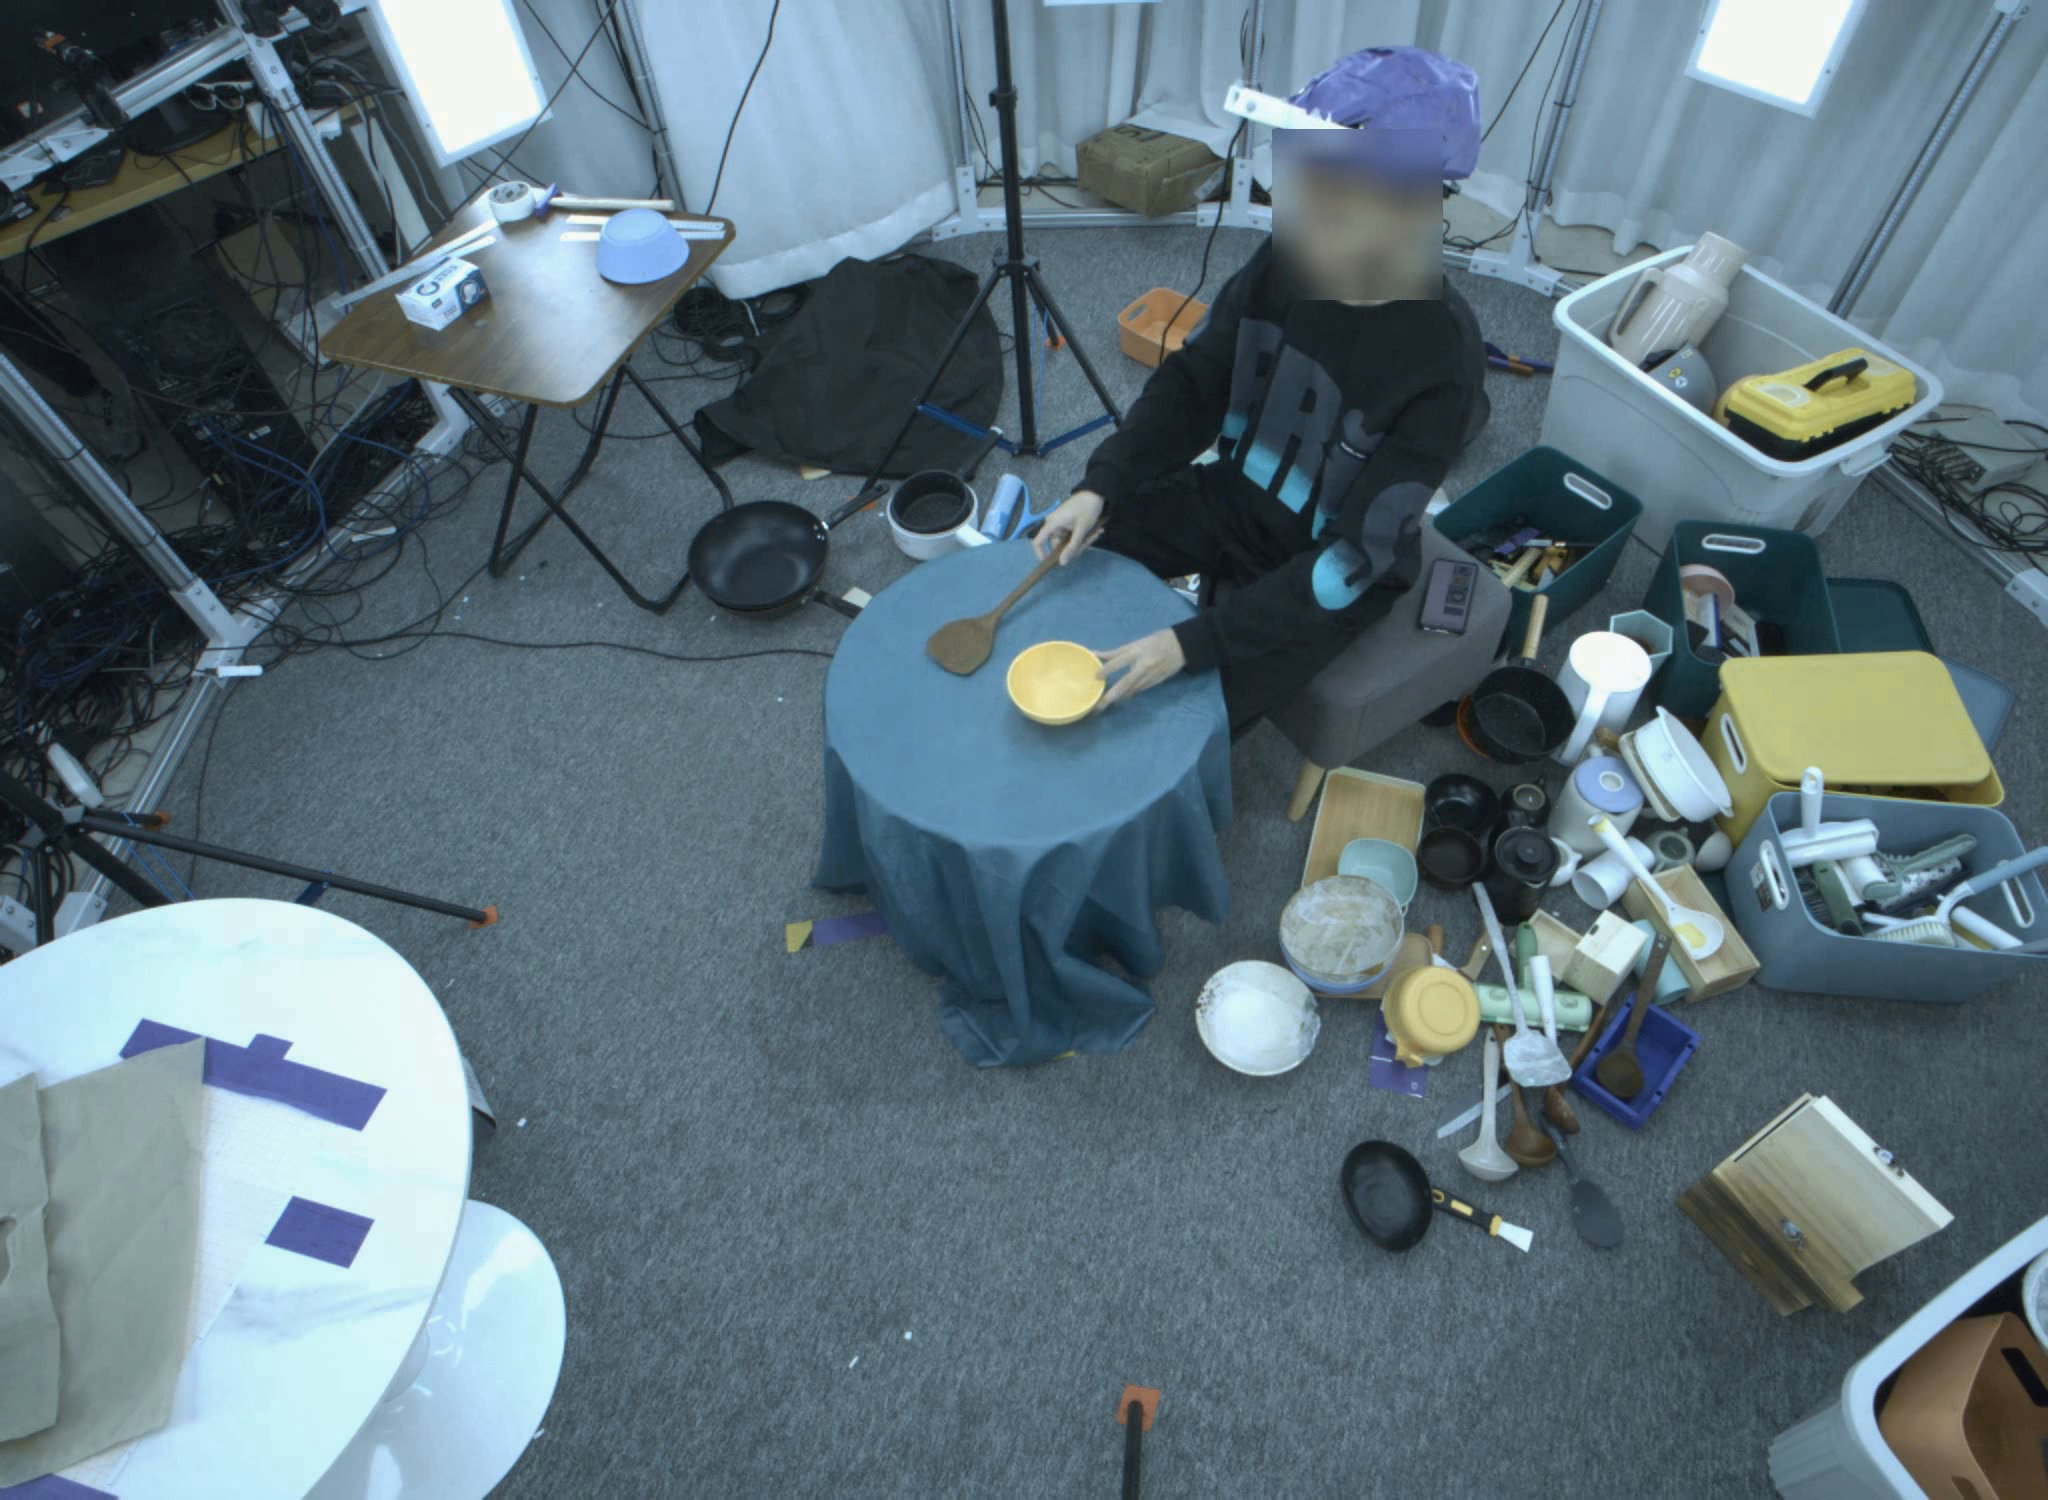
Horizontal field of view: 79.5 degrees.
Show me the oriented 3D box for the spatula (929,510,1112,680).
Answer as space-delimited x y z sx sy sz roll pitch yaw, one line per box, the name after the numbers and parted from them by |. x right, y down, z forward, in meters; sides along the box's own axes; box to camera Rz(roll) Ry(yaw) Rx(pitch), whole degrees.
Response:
0.007 -0.256 1.936 0.095 0.016 0.387 40 74 16 | spatula

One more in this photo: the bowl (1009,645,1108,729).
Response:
0.050 -0.082 1.820 0.145 0.060 0.144 1 55 0 | bowl
